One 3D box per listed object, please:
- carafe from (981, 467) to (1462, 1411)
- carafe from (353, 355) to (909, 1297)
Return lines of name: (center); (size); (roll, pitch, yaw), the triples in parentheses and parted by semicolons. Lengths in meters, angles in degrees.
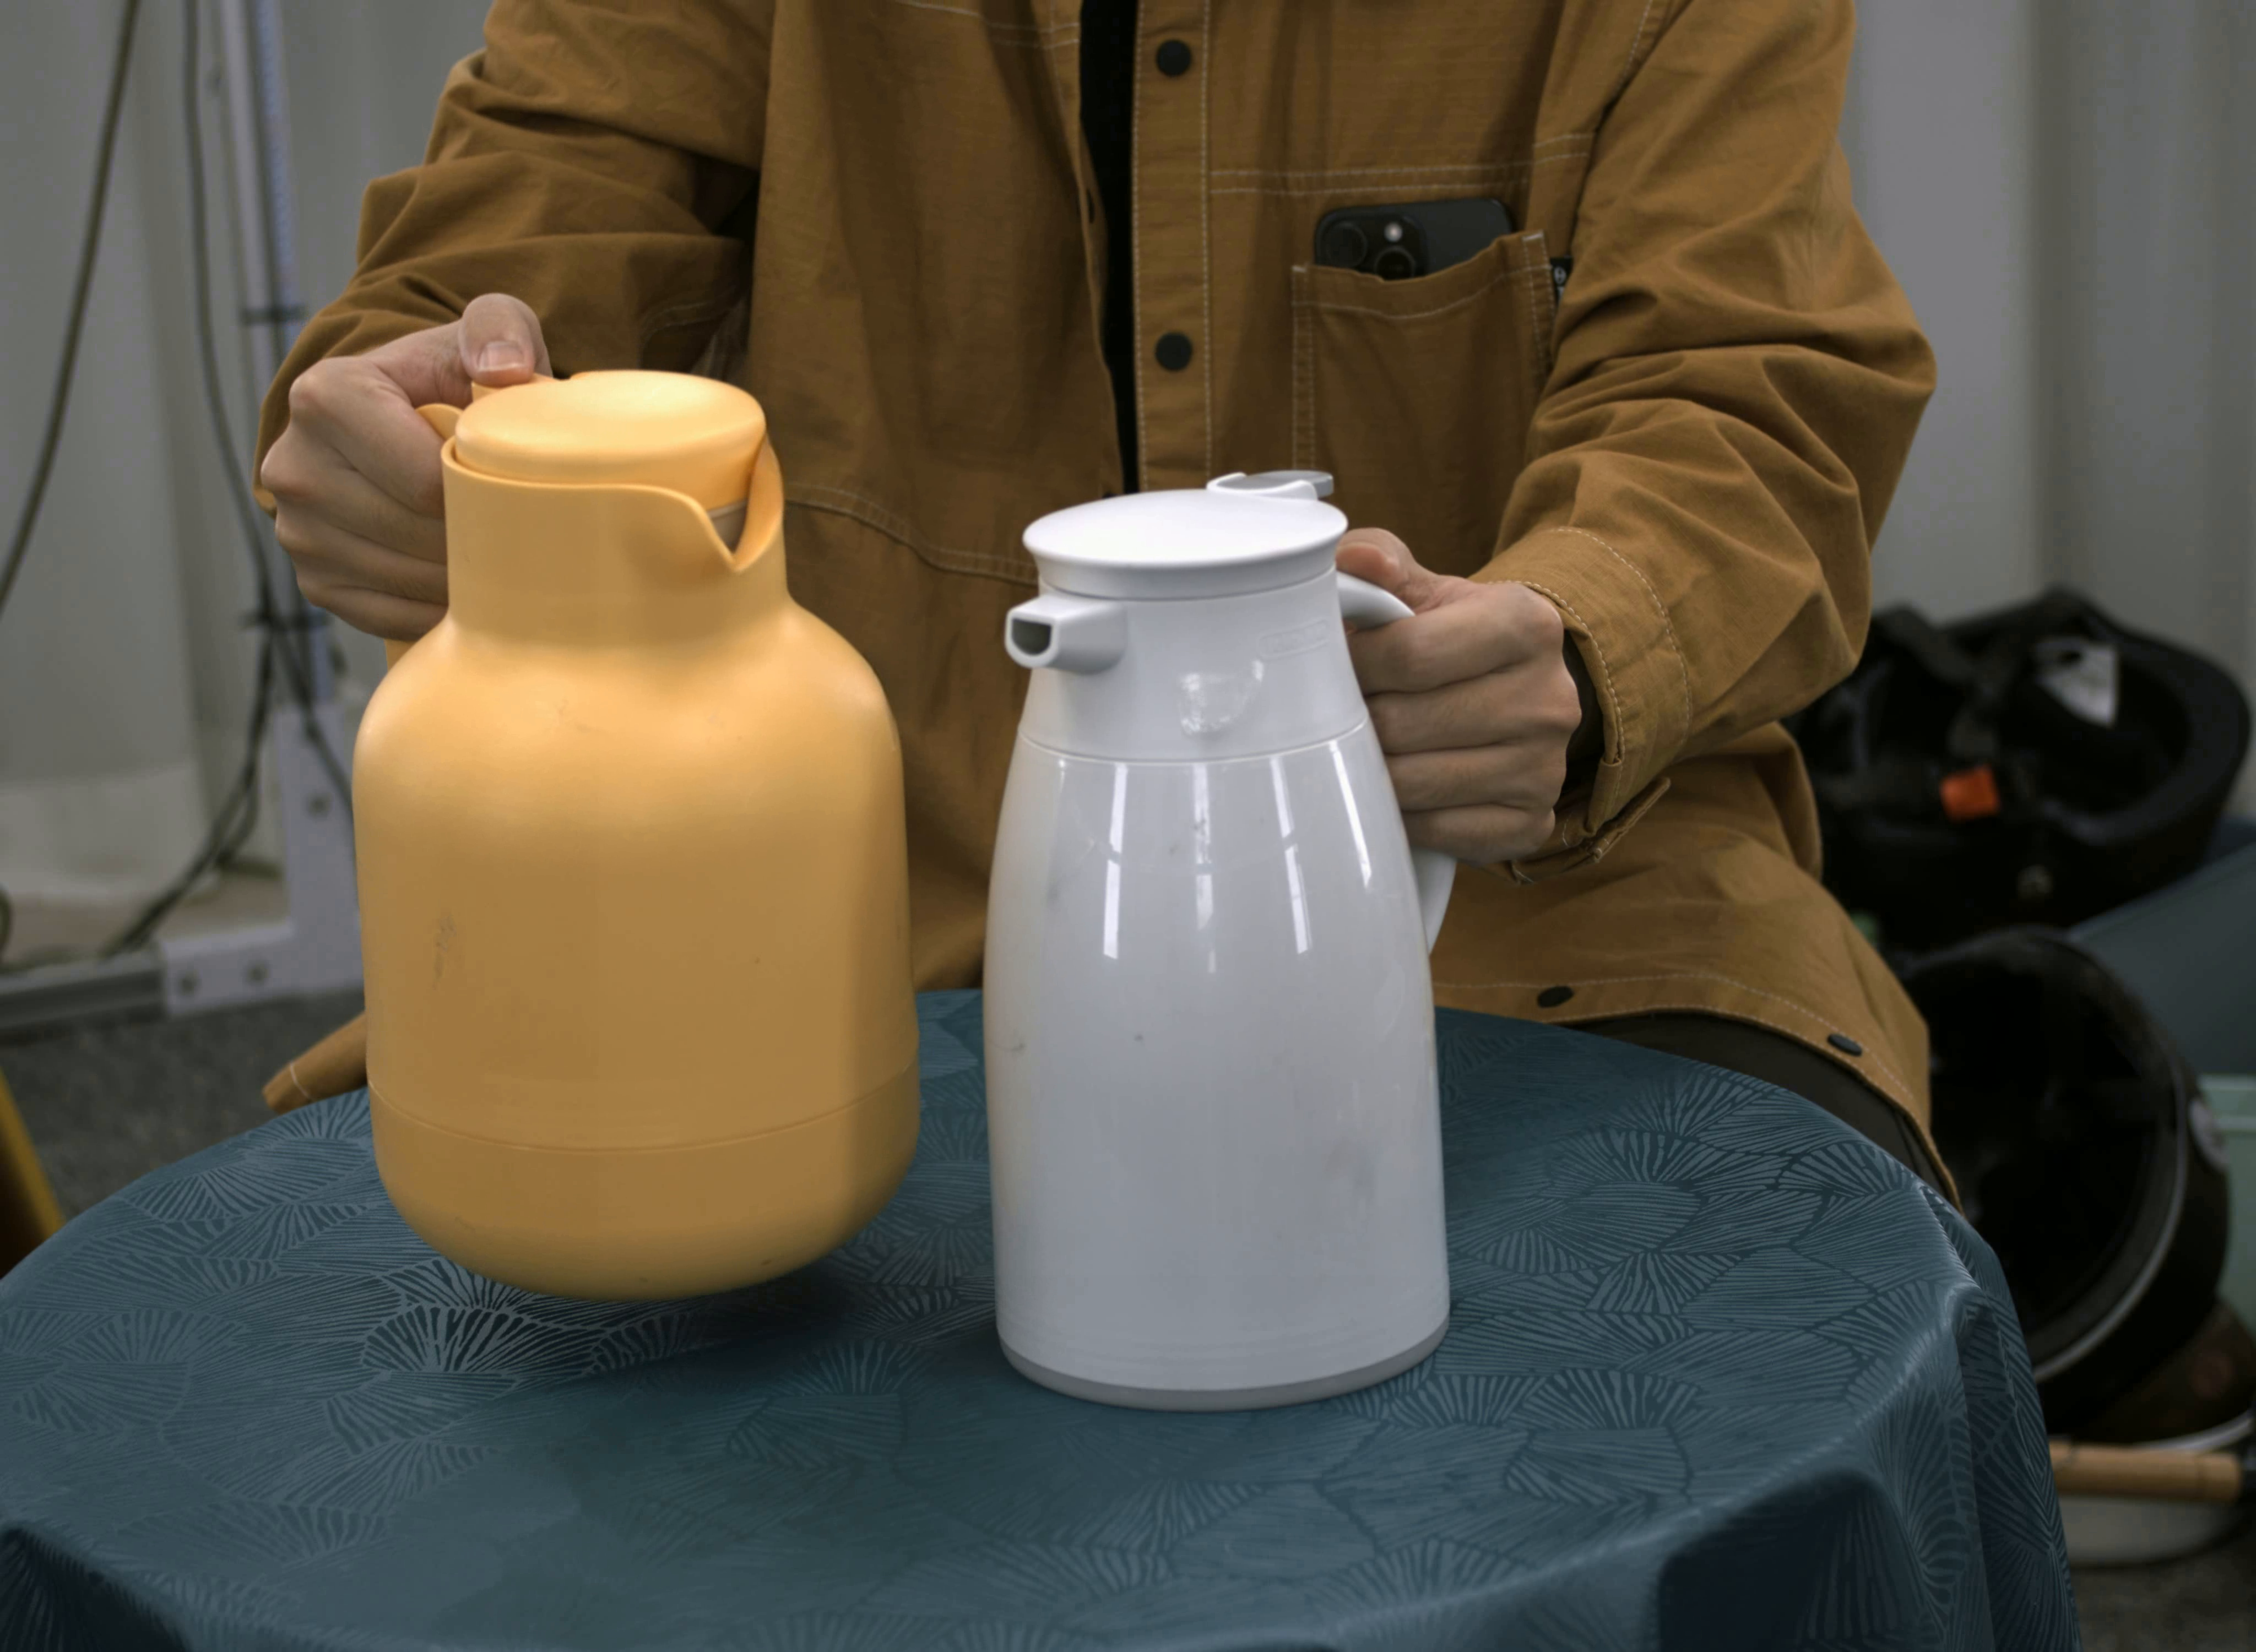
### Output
carafe: (0.034, 0.023, 1.572); (0.133, 0.248, 0.167); (10, 18, 43)
carafe: (-0.155, -0.009, 1.613); (0.163, 0.259, 0.204); (-10, 21, -33)
